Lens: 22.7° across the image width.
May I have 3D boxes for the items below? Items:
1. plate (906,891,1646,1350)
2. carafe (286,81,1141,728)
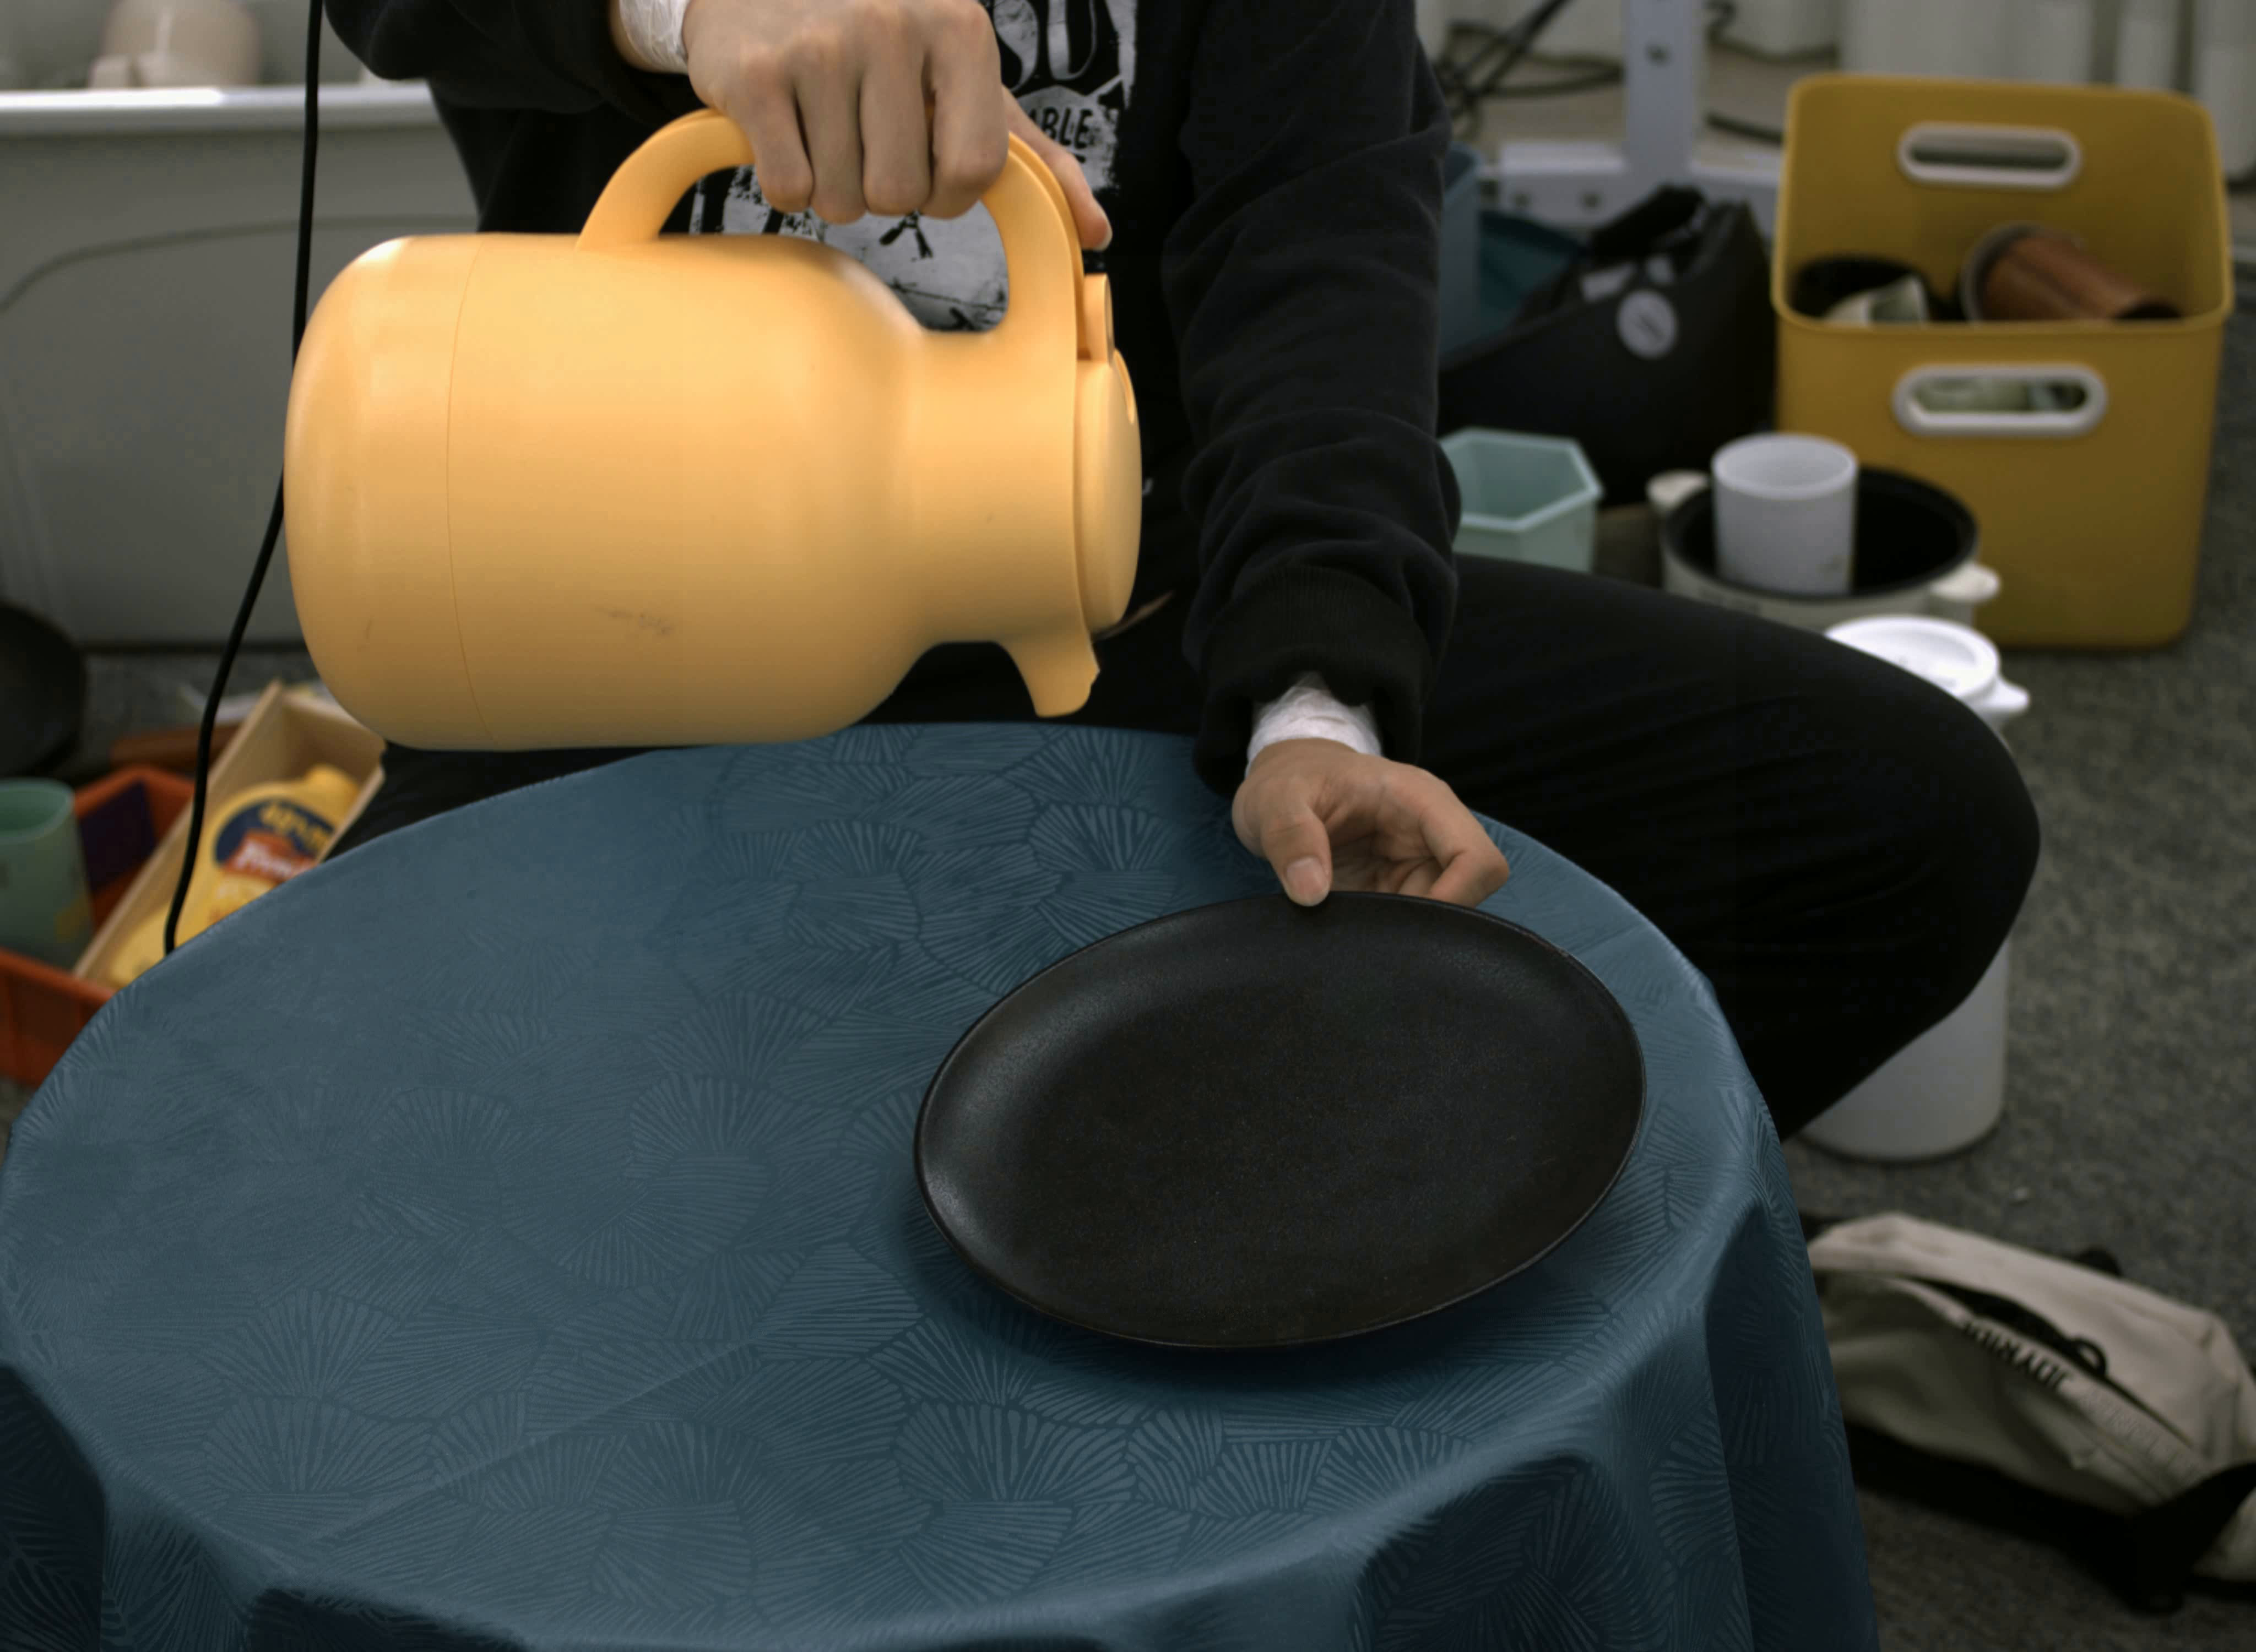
[{"bbox_3d":[0.049,0.100,1.844,0.243,0.023,0.249,-5,33,4],"label":"plate"},{"bbox_3d":[-0.126,-0.131,1.767,0.259,0.202,0.164,1,10,3],"label":"carafe"}]
